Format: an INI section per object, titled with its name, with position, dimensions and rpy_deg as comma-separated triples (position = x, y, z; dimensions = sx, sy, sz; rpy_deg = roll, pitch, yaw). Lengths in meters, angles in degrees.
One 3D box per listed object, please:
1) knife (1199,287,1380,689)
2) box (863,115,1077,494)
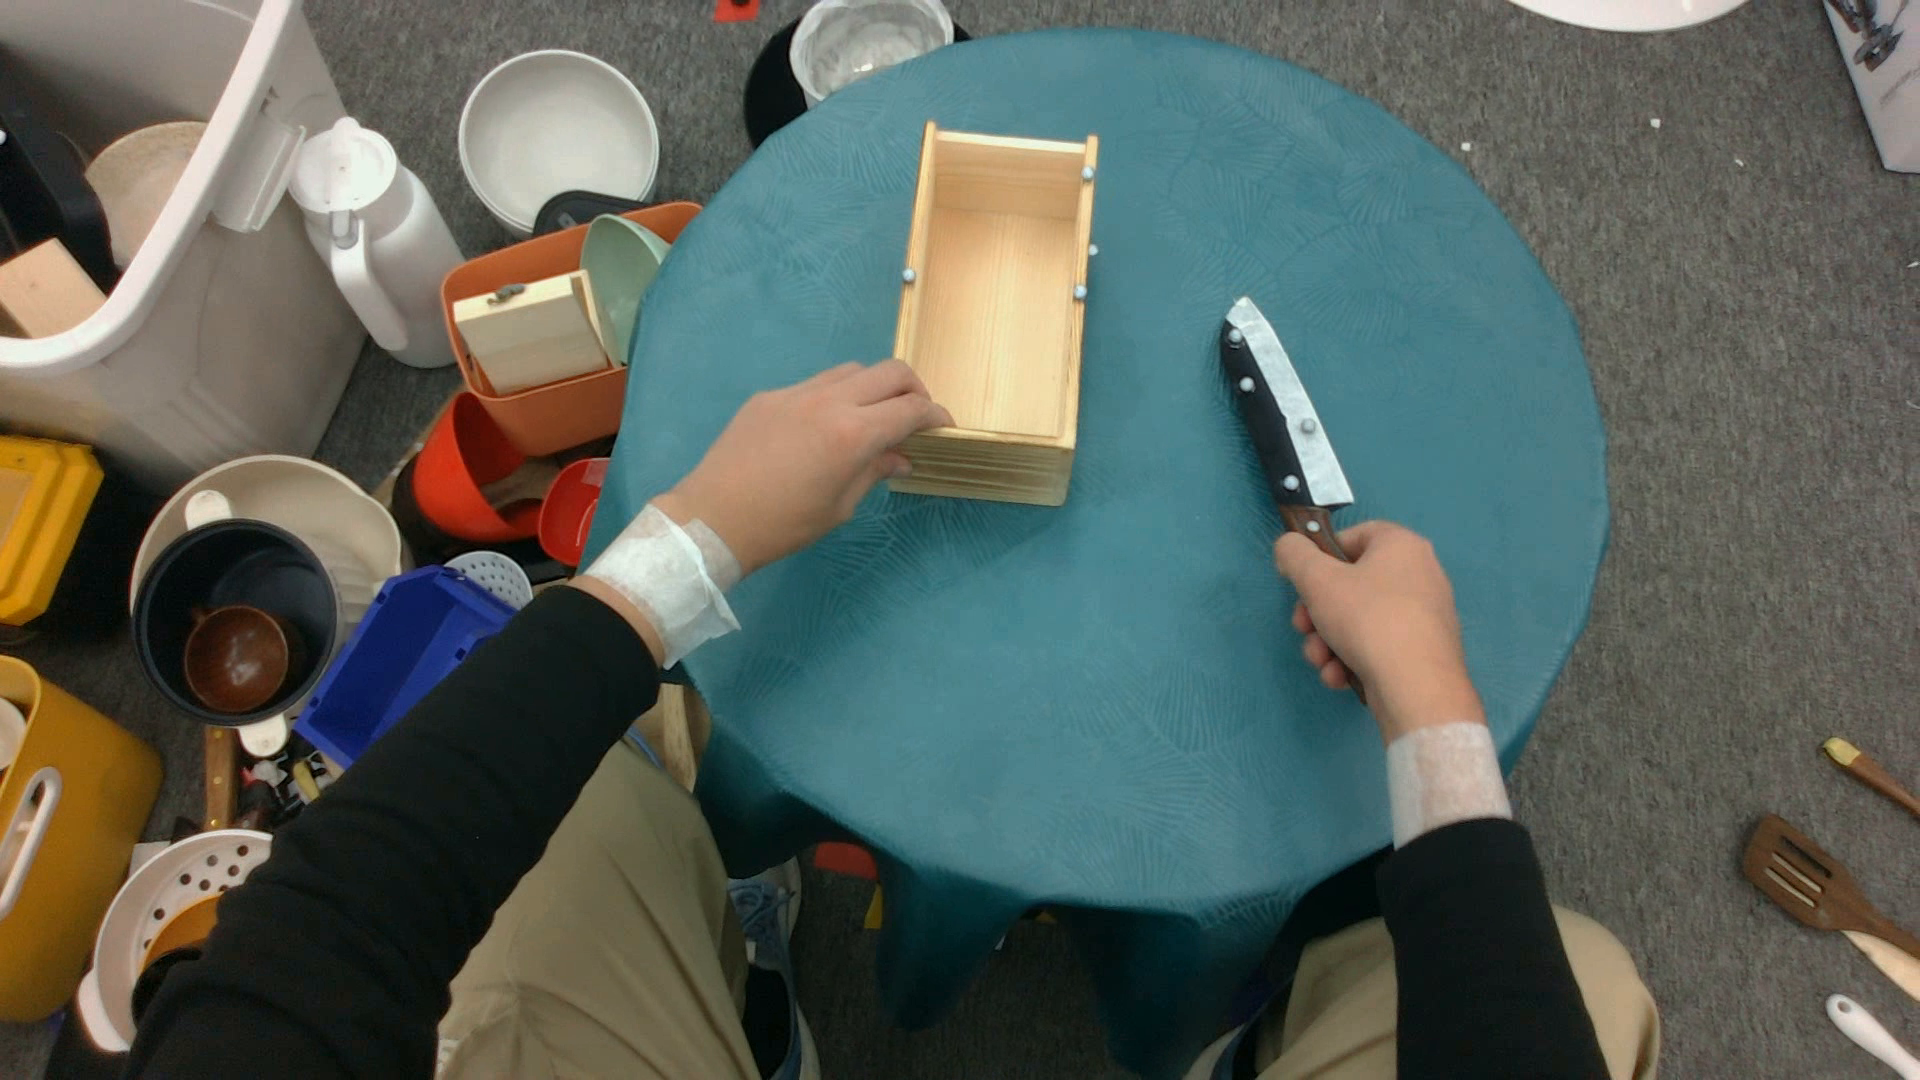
[knife]
position = 0.187, -0.043, 0.793
dimensions = 0.050, 0.020, 0.290
rpy_deg = -5, 55, -6
[box]
position = 0.009, -0.142, 0.823
dimensions = 0.107, 0.080, 0.212
rpy_deg = 5, 66, 1
